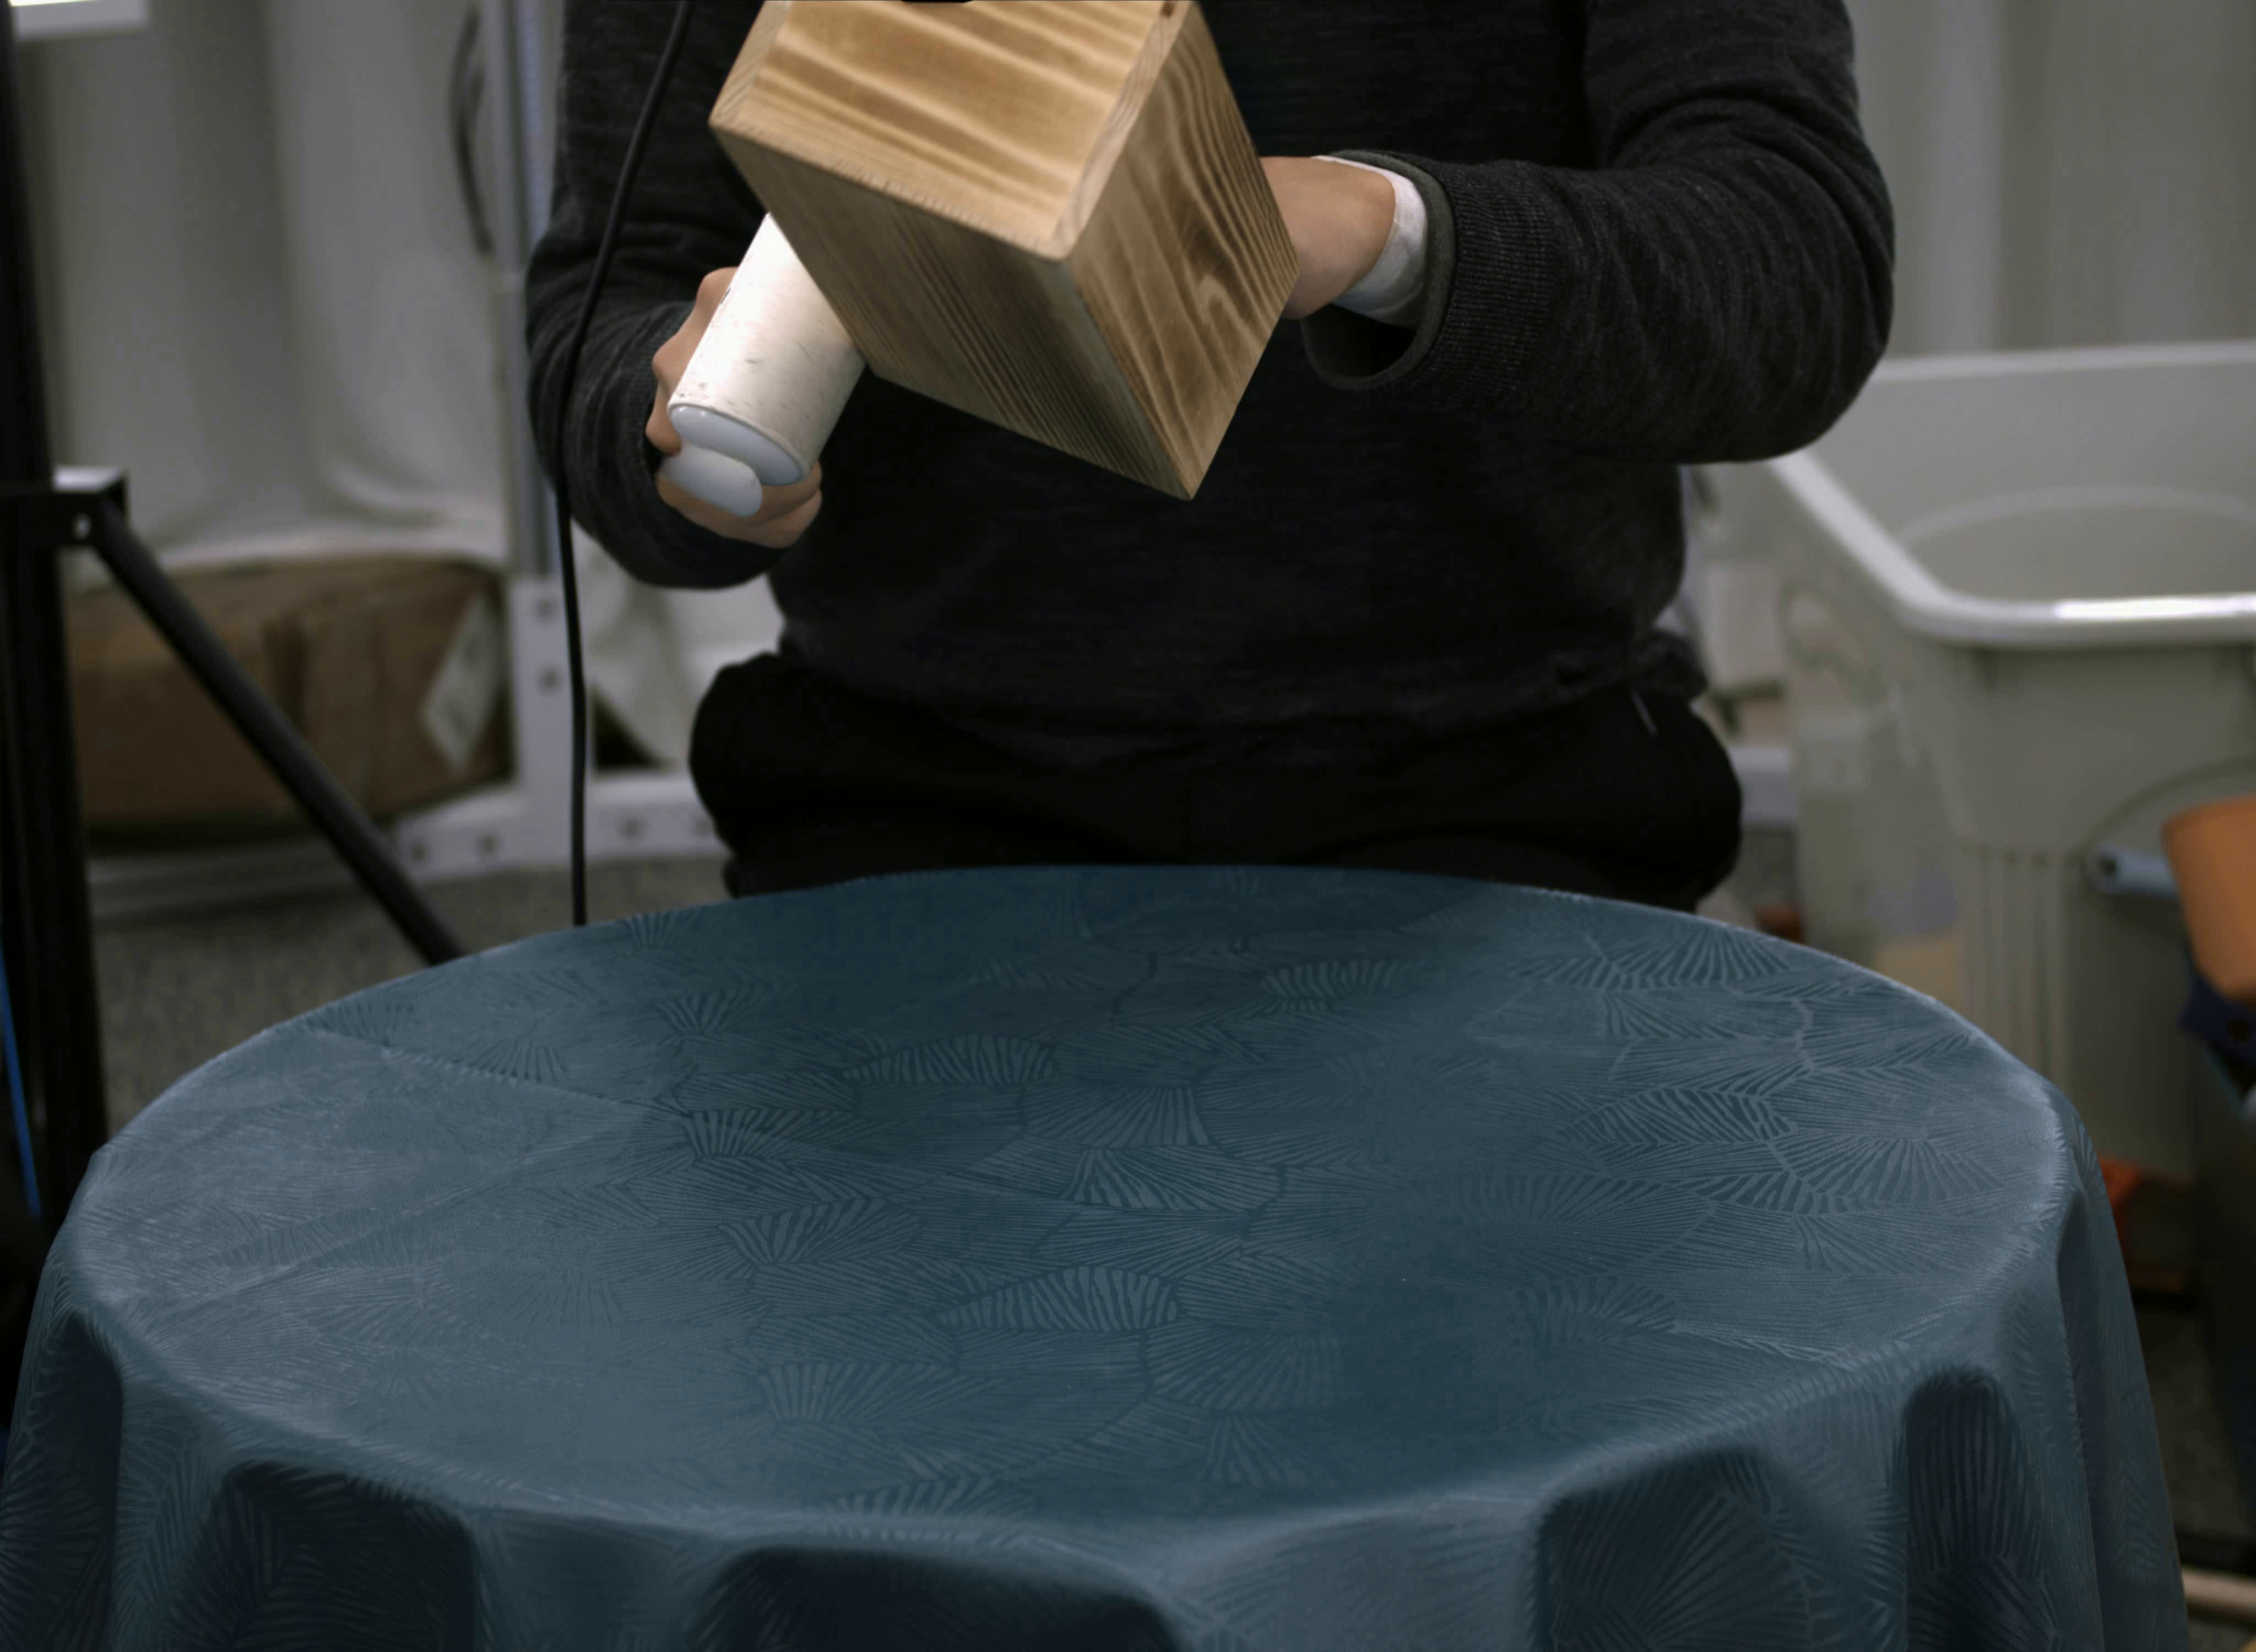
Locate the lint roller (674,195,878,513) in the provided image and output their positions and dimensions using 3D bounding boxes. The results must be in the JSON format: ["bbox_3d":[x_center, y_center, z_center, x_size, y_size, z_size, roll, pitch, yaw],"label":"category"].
[{"bbox_3d":[-0.109,-0.147,1.635,0.049,0.133,0.182,28,-13,-11],"label":"lint roller"}]

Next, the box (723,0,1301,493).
[{"bbox_3d":[-0.027,-0.176,1.465,0.108,0.080,0.209,23,-10,14],"label":"box"}]
